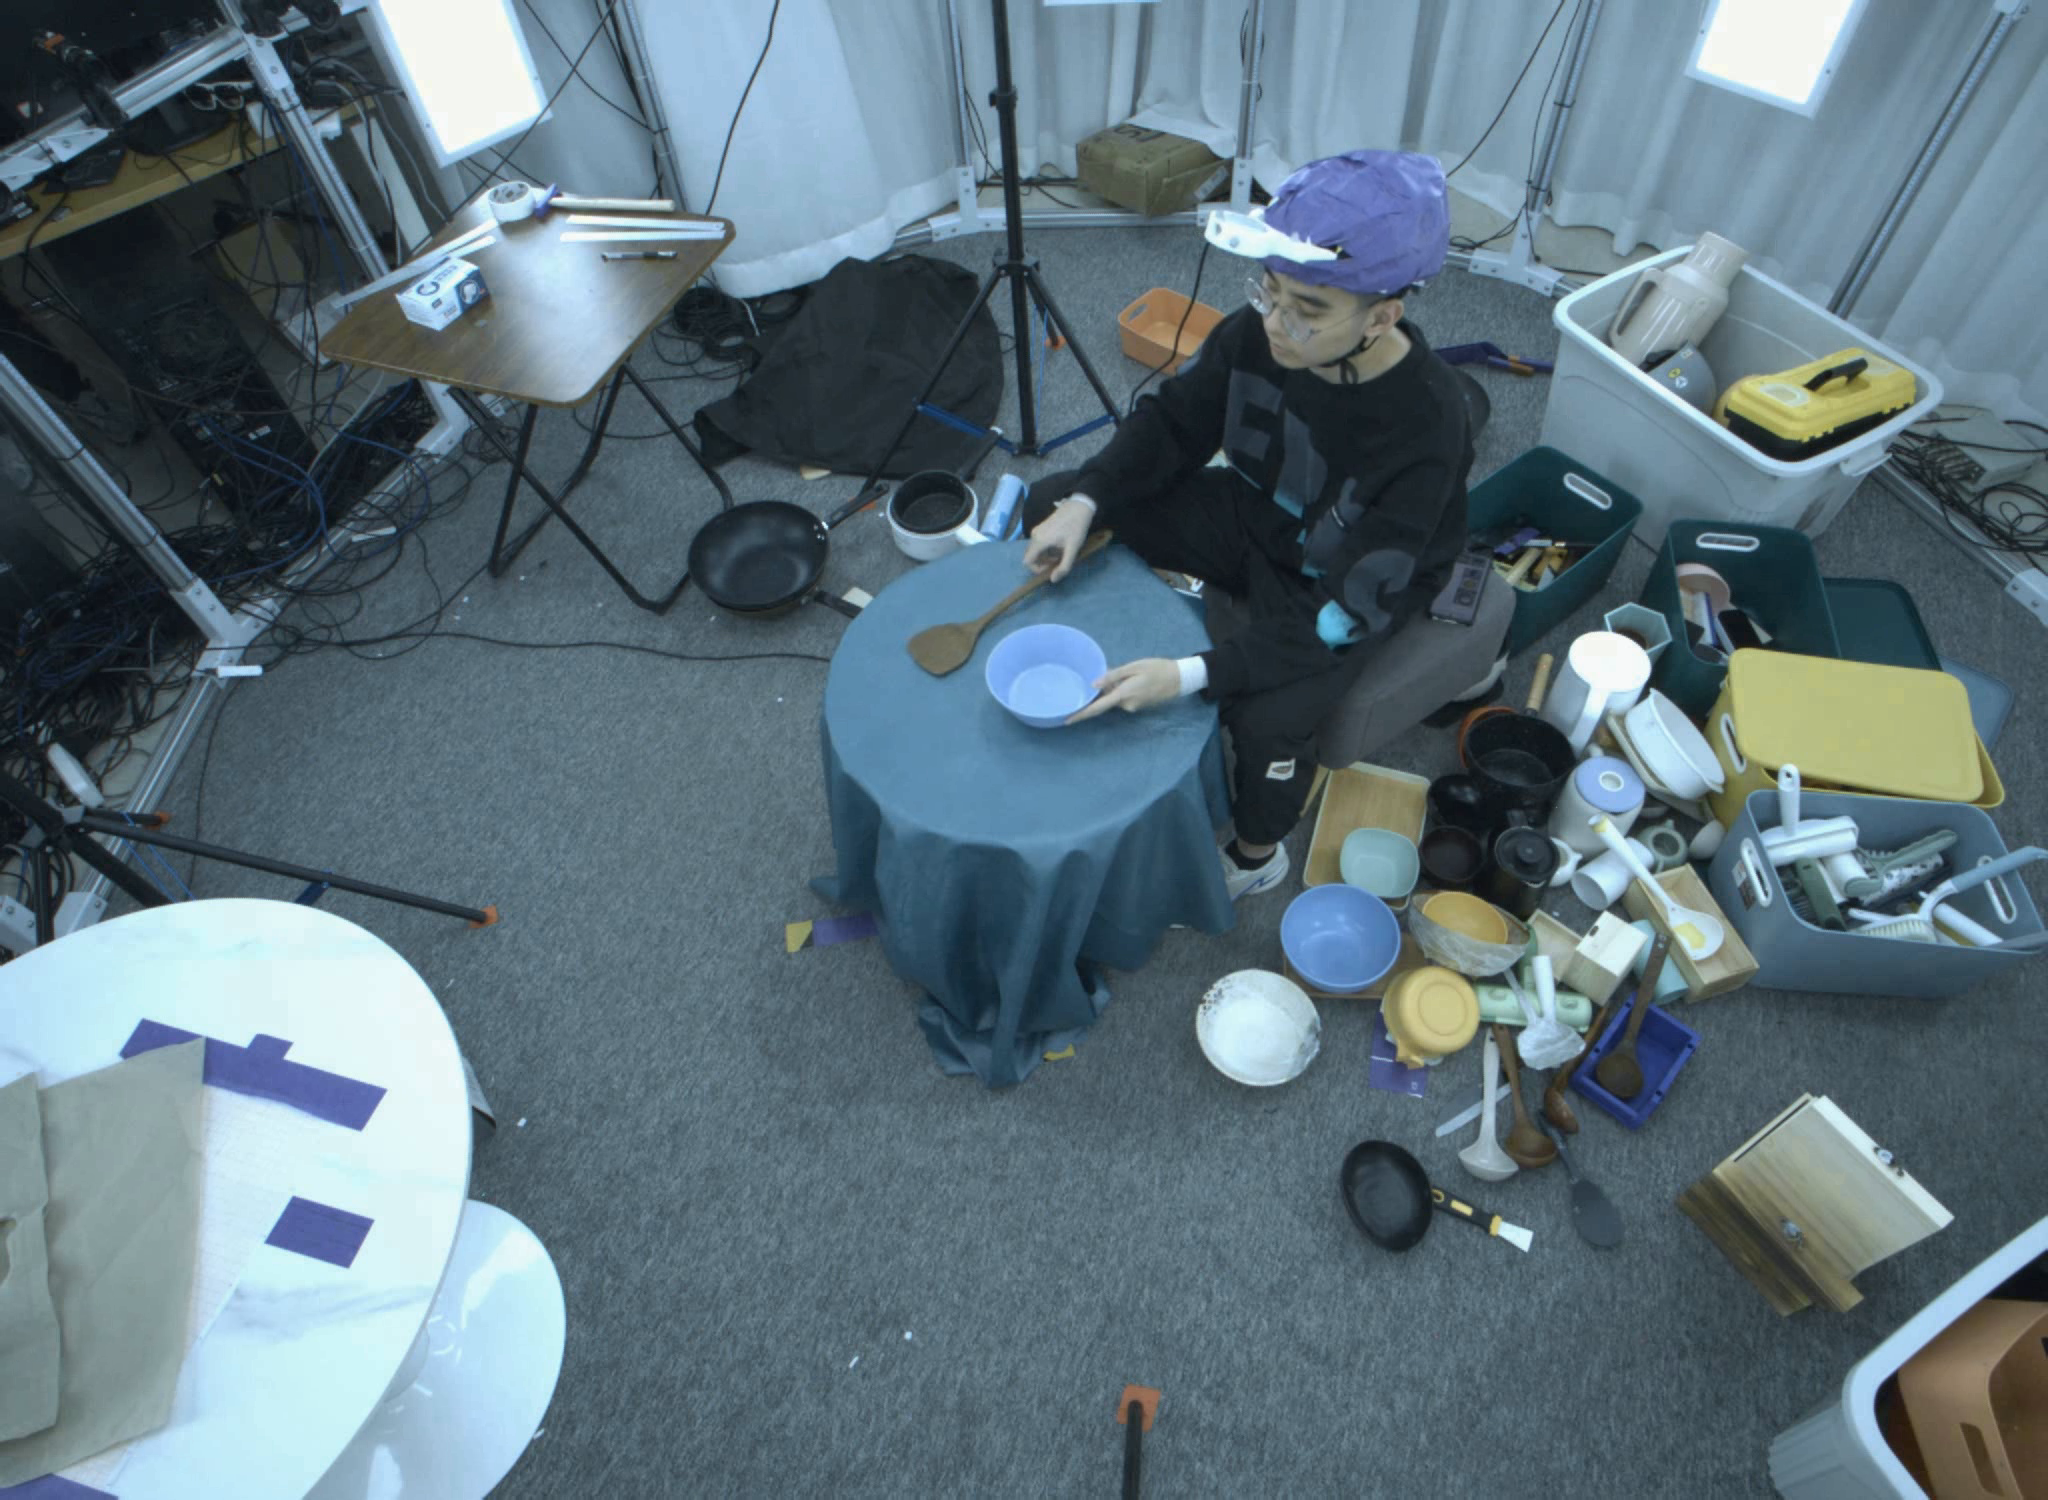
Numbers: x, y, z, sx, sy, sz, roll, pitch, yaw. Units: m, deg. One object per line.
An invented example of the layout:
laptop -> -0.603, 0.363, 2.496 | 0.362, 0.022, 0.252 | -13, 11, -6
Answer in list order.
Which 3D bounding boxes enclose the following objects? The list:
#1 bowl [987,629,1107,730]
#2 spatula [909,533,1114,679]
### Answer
bowl -> 0.034, -0.094, 1.821 | 0.176, 0.071, 0.174 | 0, 54, 1
spatula -> -0.010, -0.239, 1.940 | 0.388, 0.016, 0.094 | -36, 62, -14
